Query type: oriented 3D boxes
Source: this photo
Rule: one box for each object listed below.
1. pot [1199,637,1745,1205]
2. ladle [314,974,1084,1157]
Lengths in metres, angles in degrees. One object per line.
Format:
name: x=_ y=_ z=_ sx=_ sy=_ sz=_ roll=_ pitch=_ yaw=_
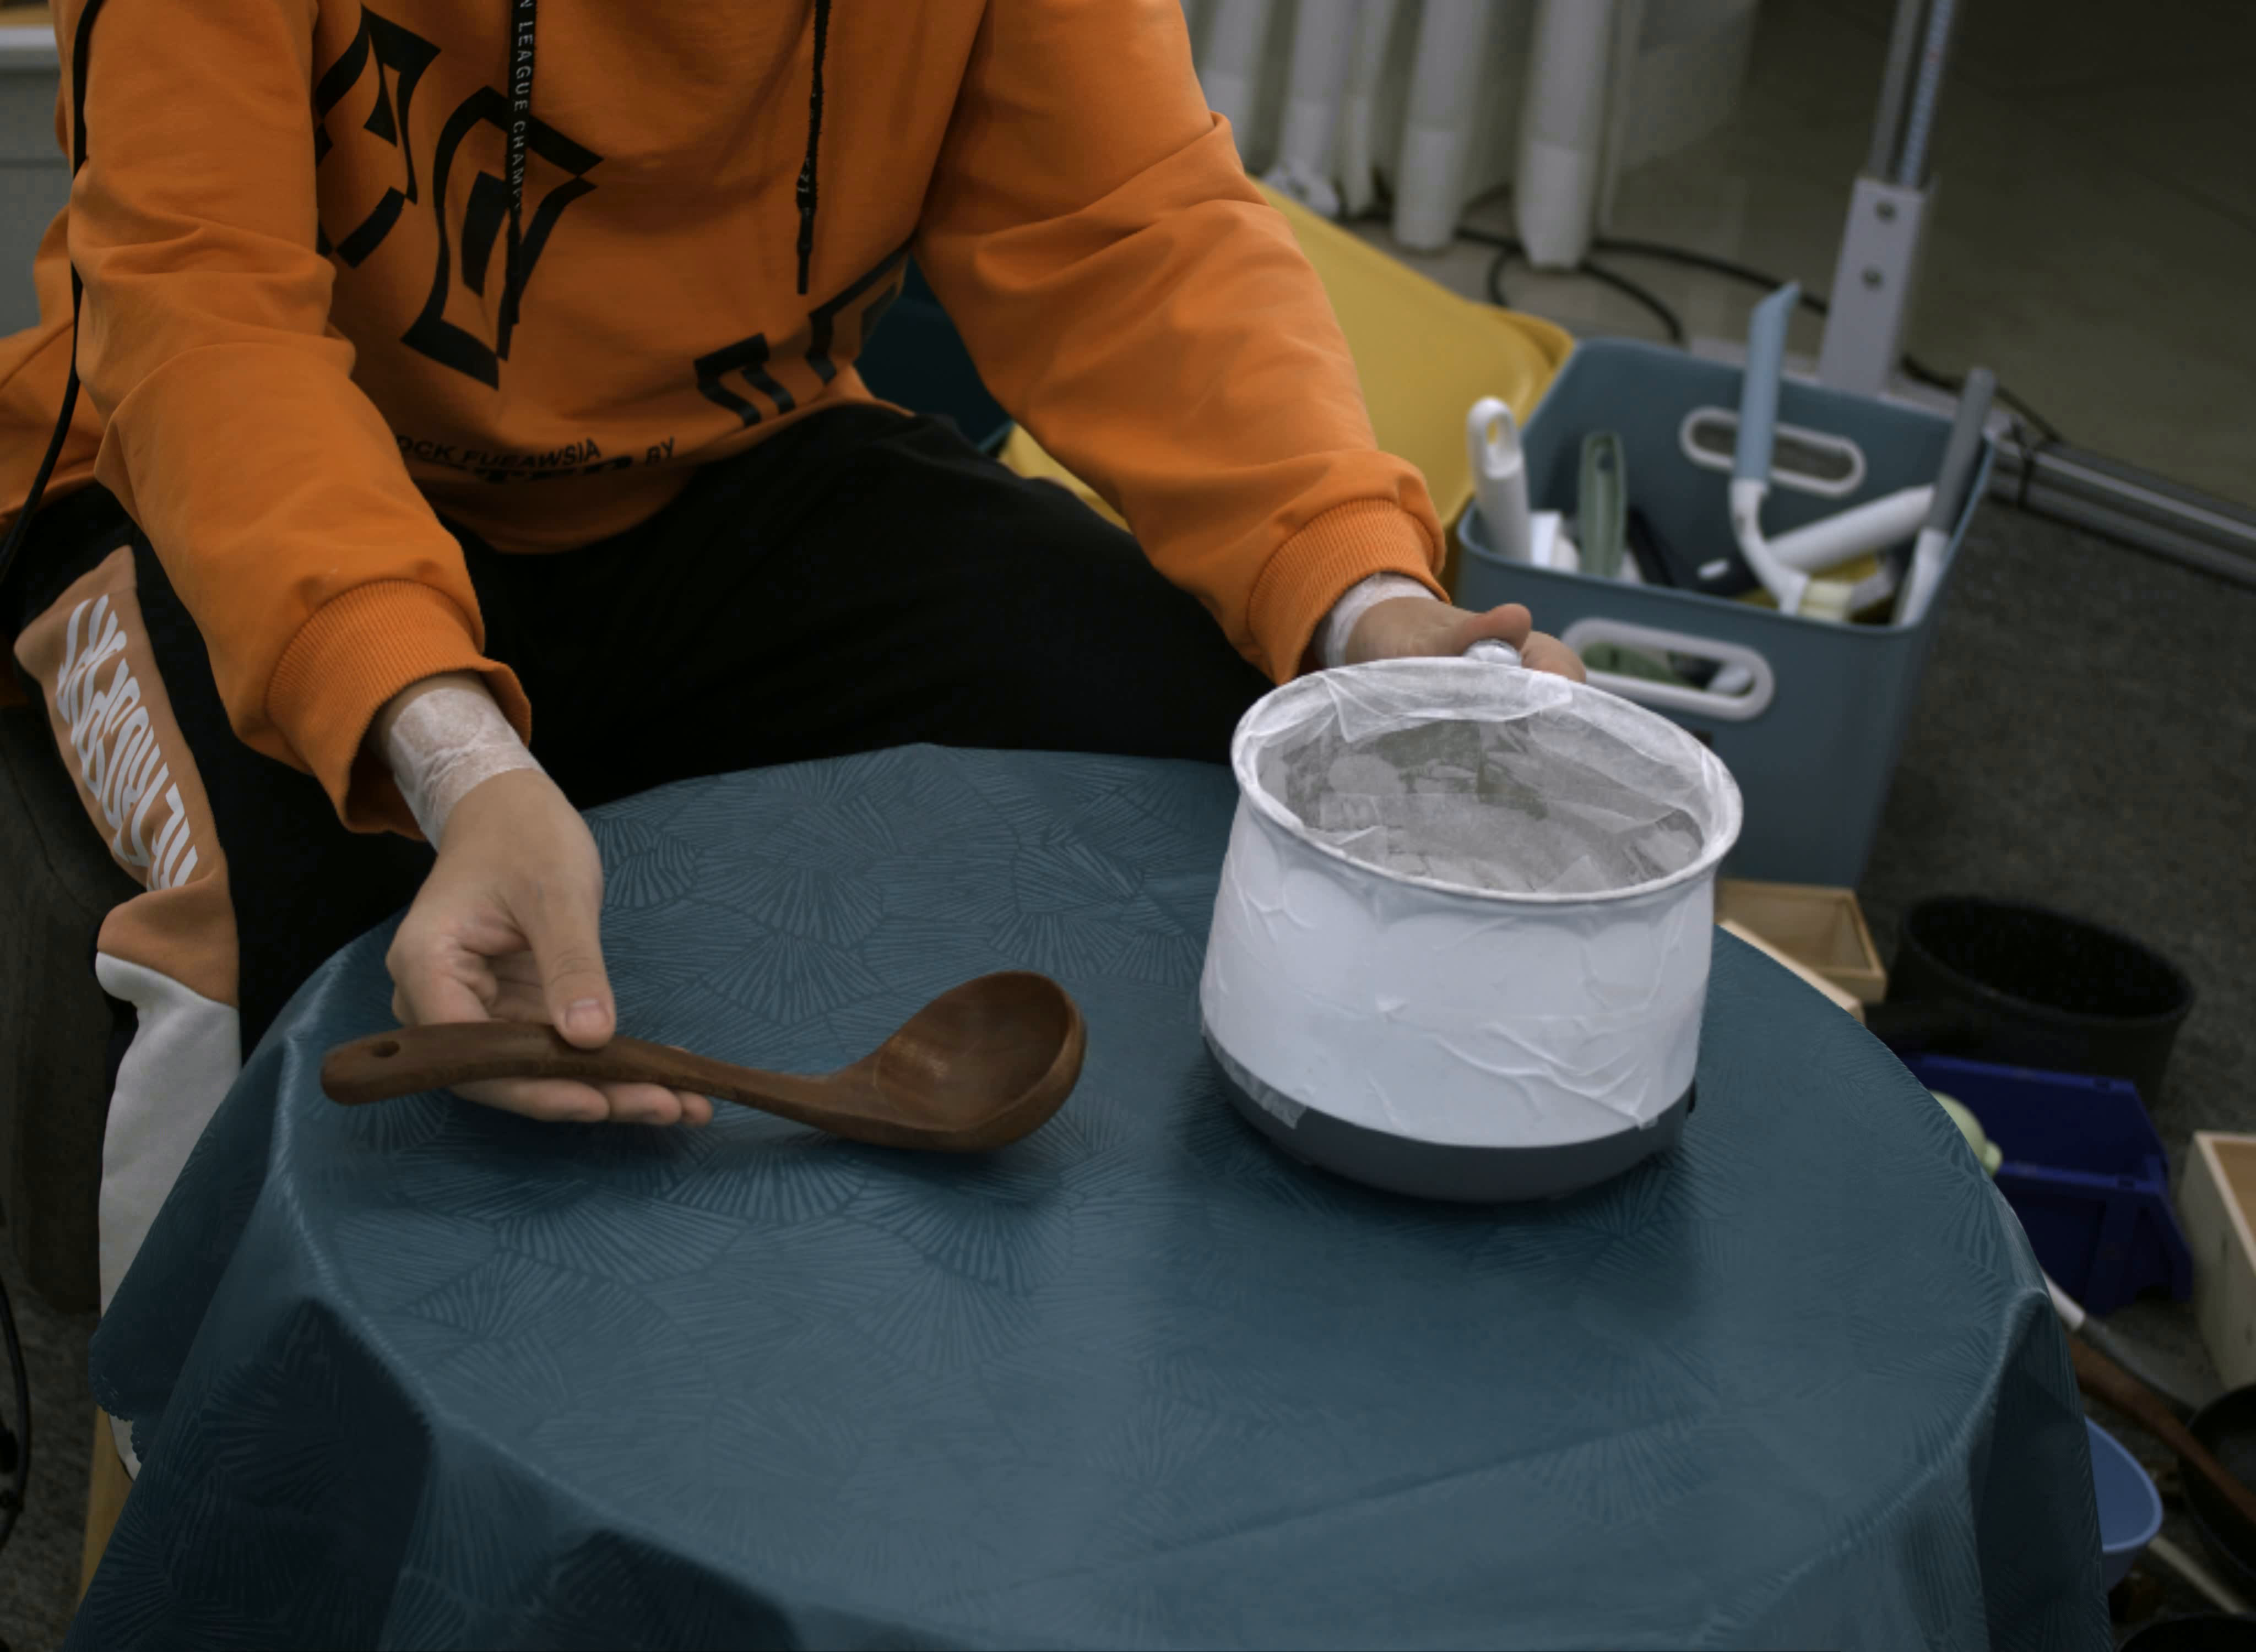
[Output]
pot: x=0.117 y=0.025 z=1.870 sx=0.178 sy=0.136 sz=0.235 roll=7 pitch=27 yaw=0
ladle: x=-0.140 y=0.072 z=1.779 sx=0.258 sy=0.065 sz=0.077 roll=7 pitch=24 yaw=-20
